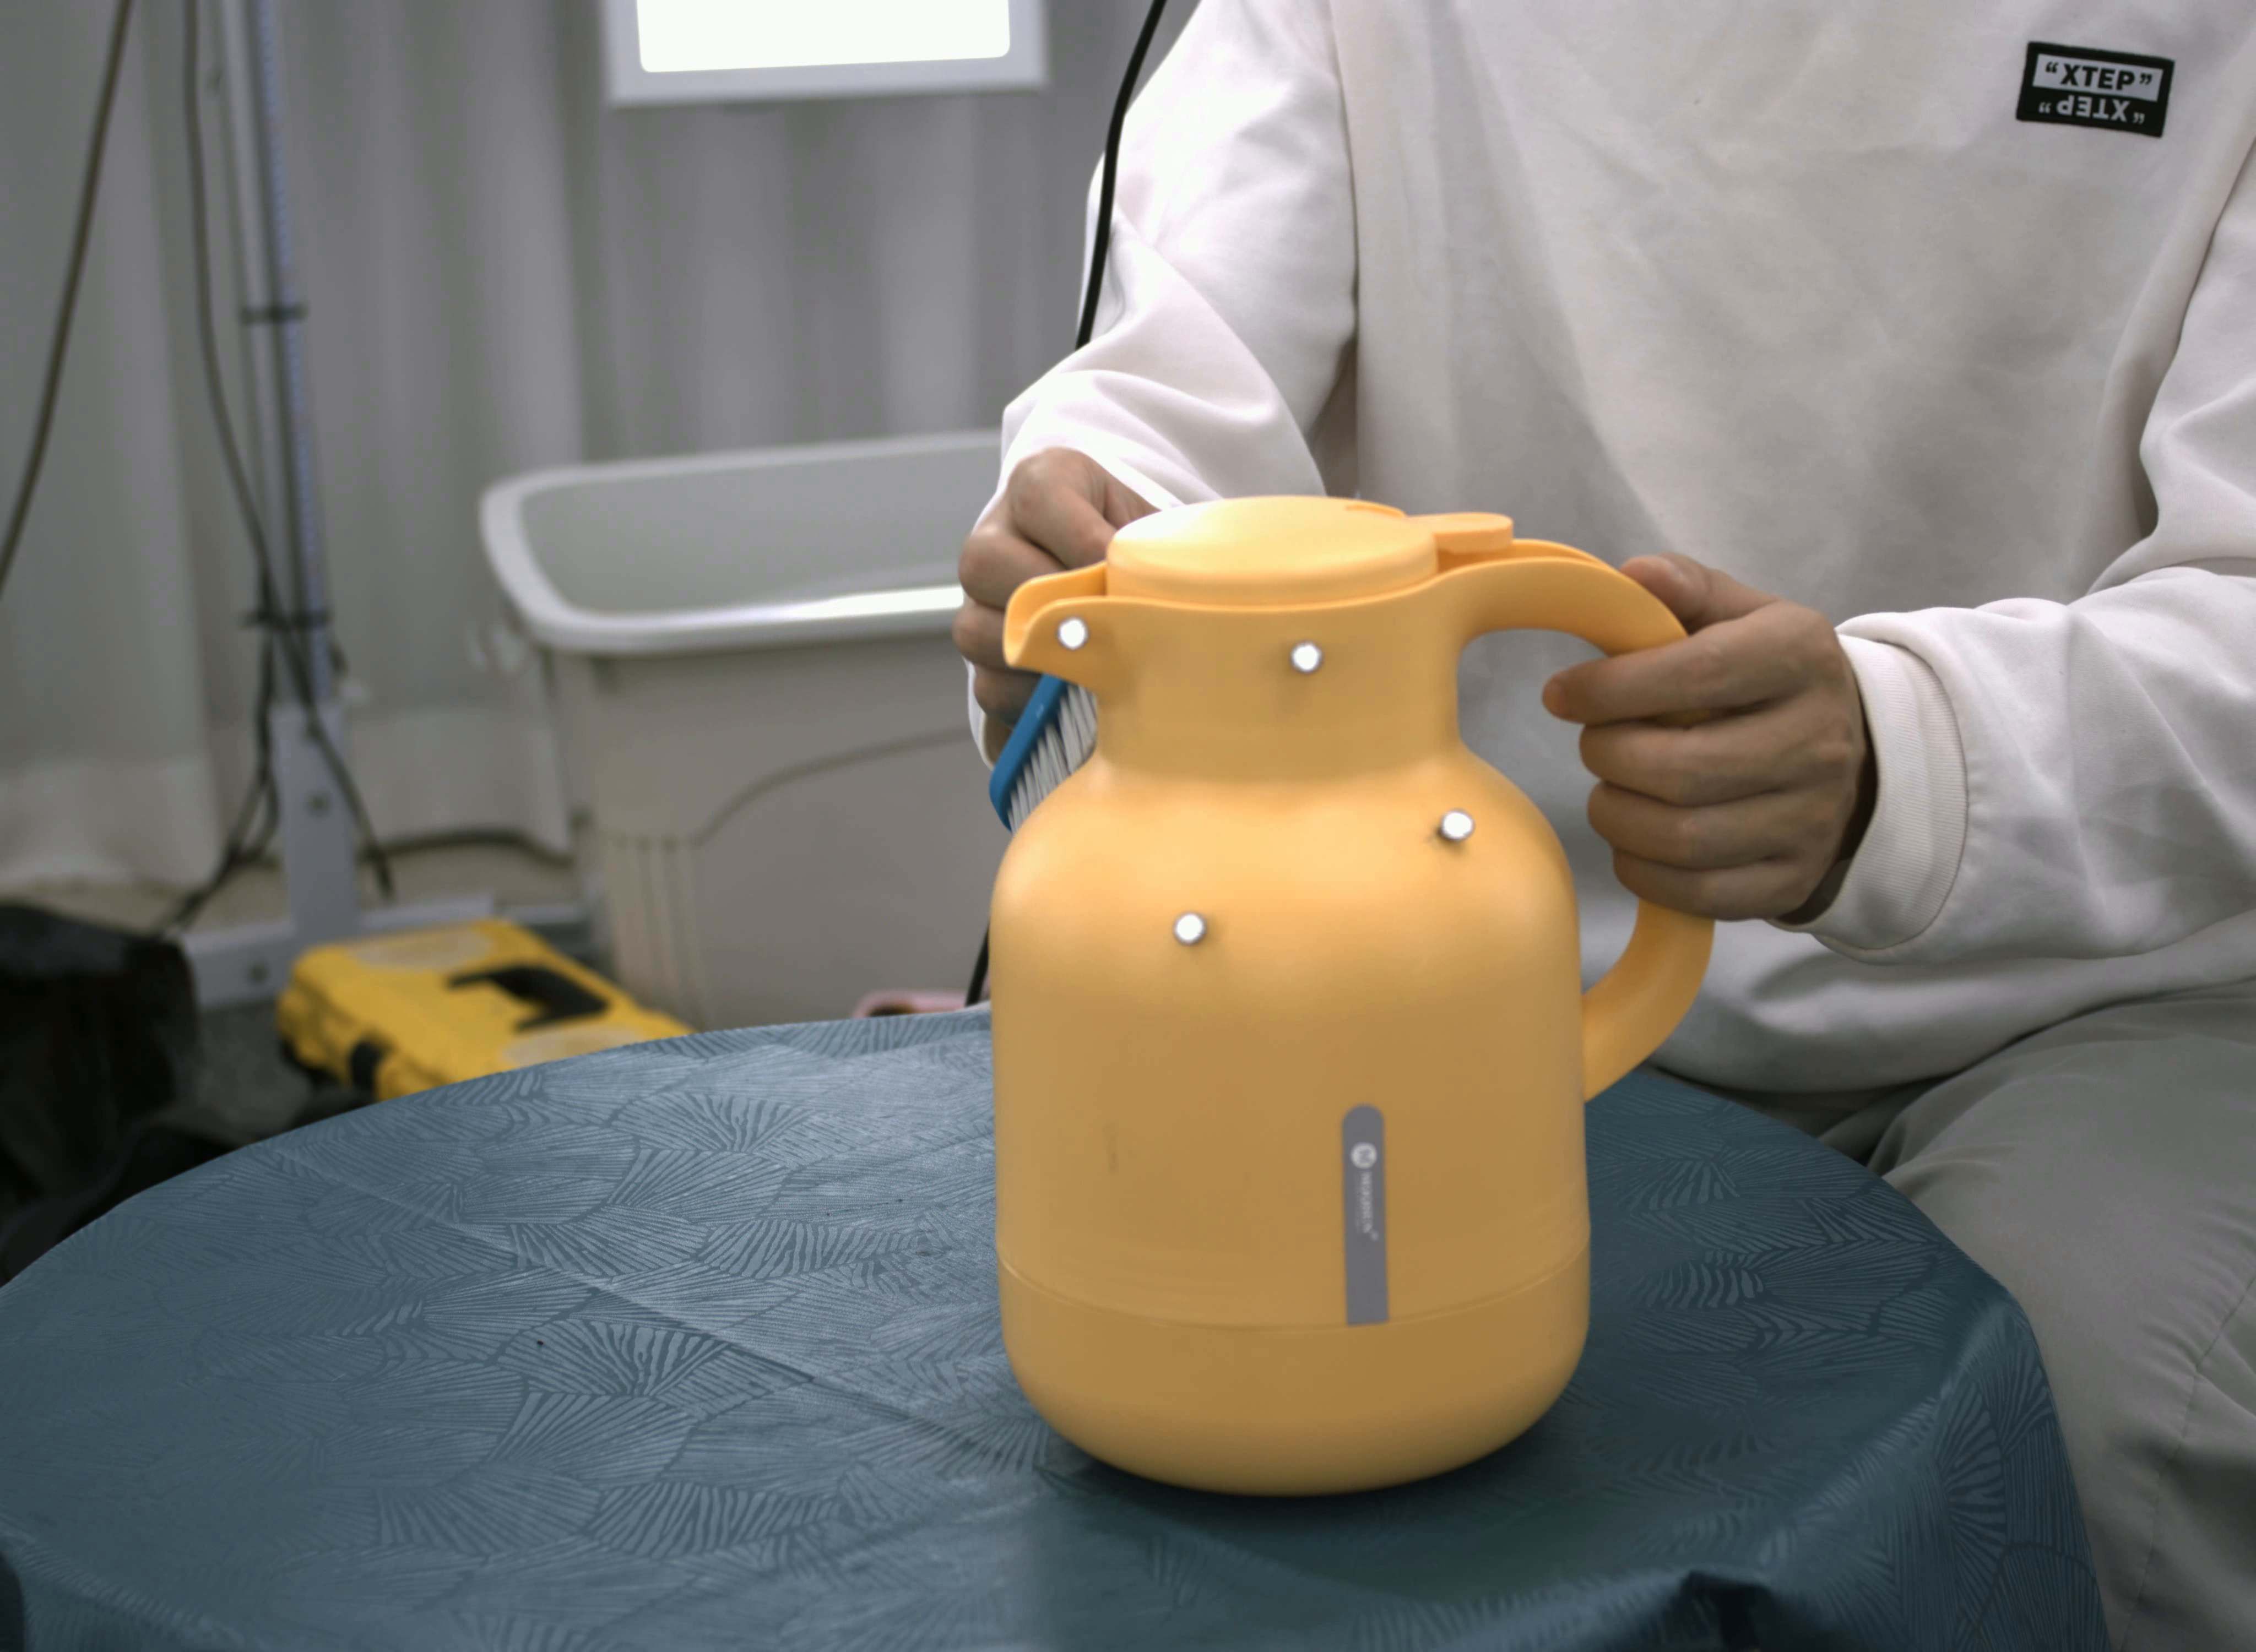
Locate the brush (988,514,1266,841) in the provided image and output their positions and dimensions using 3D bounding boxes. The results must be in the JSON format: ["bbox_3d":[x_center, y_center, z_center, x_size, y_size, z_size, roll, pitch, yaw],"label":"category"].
[{"bbox_3d":[0.003,-0.044,1.583,0.084,0.140,0.064,-14,59,-31],"label":"brush"}]

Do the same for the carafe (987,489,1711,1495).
[{"bbox_3d":[0.062,0.039,1.489,0.201,0.259,0.165,-7,17,-11],"label":"carafe"}]
